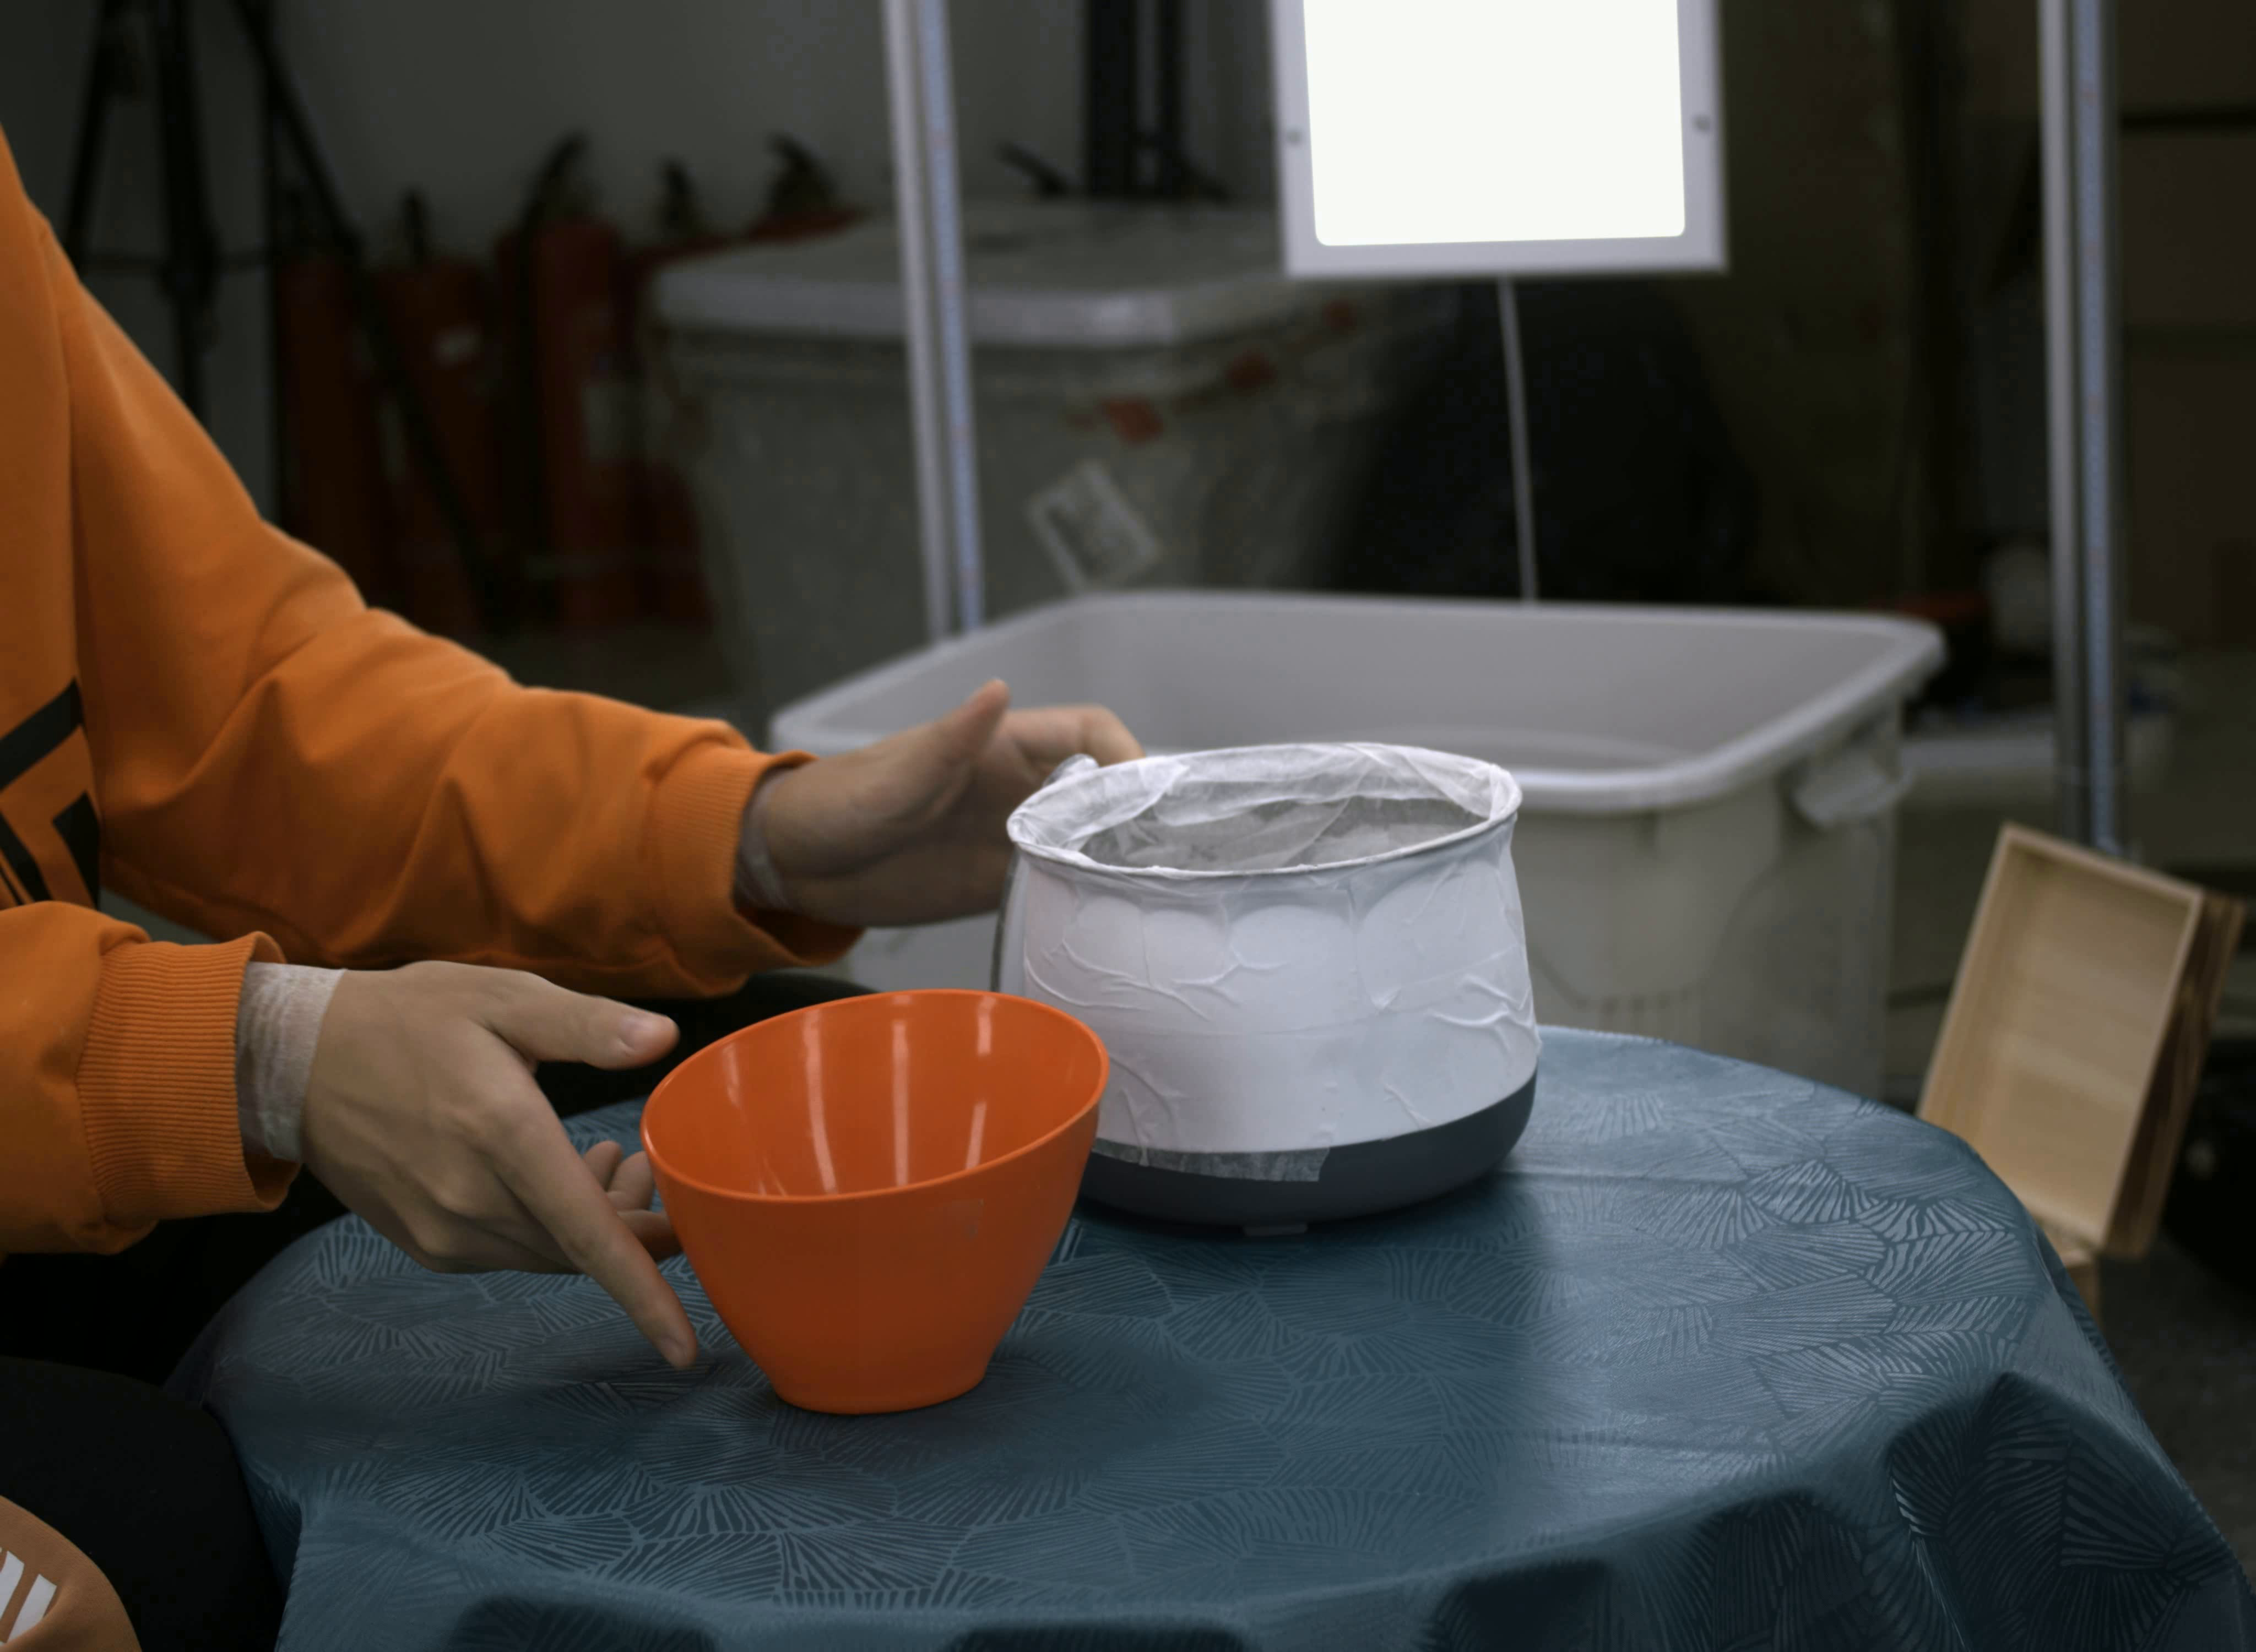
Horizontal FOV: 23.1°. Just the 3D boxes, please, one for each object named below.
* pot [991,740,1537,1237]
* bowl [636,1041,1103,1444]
[{"bbox_3d":[0.033,0.050,1.907,0.174,0.137,0.238,-15,18,-38],"label":"pot"},{"bbox_3d":[-0.077,0.133,1.726,0.147,0.105,0.148,-5,8,-1],"label":"bowl"}]
